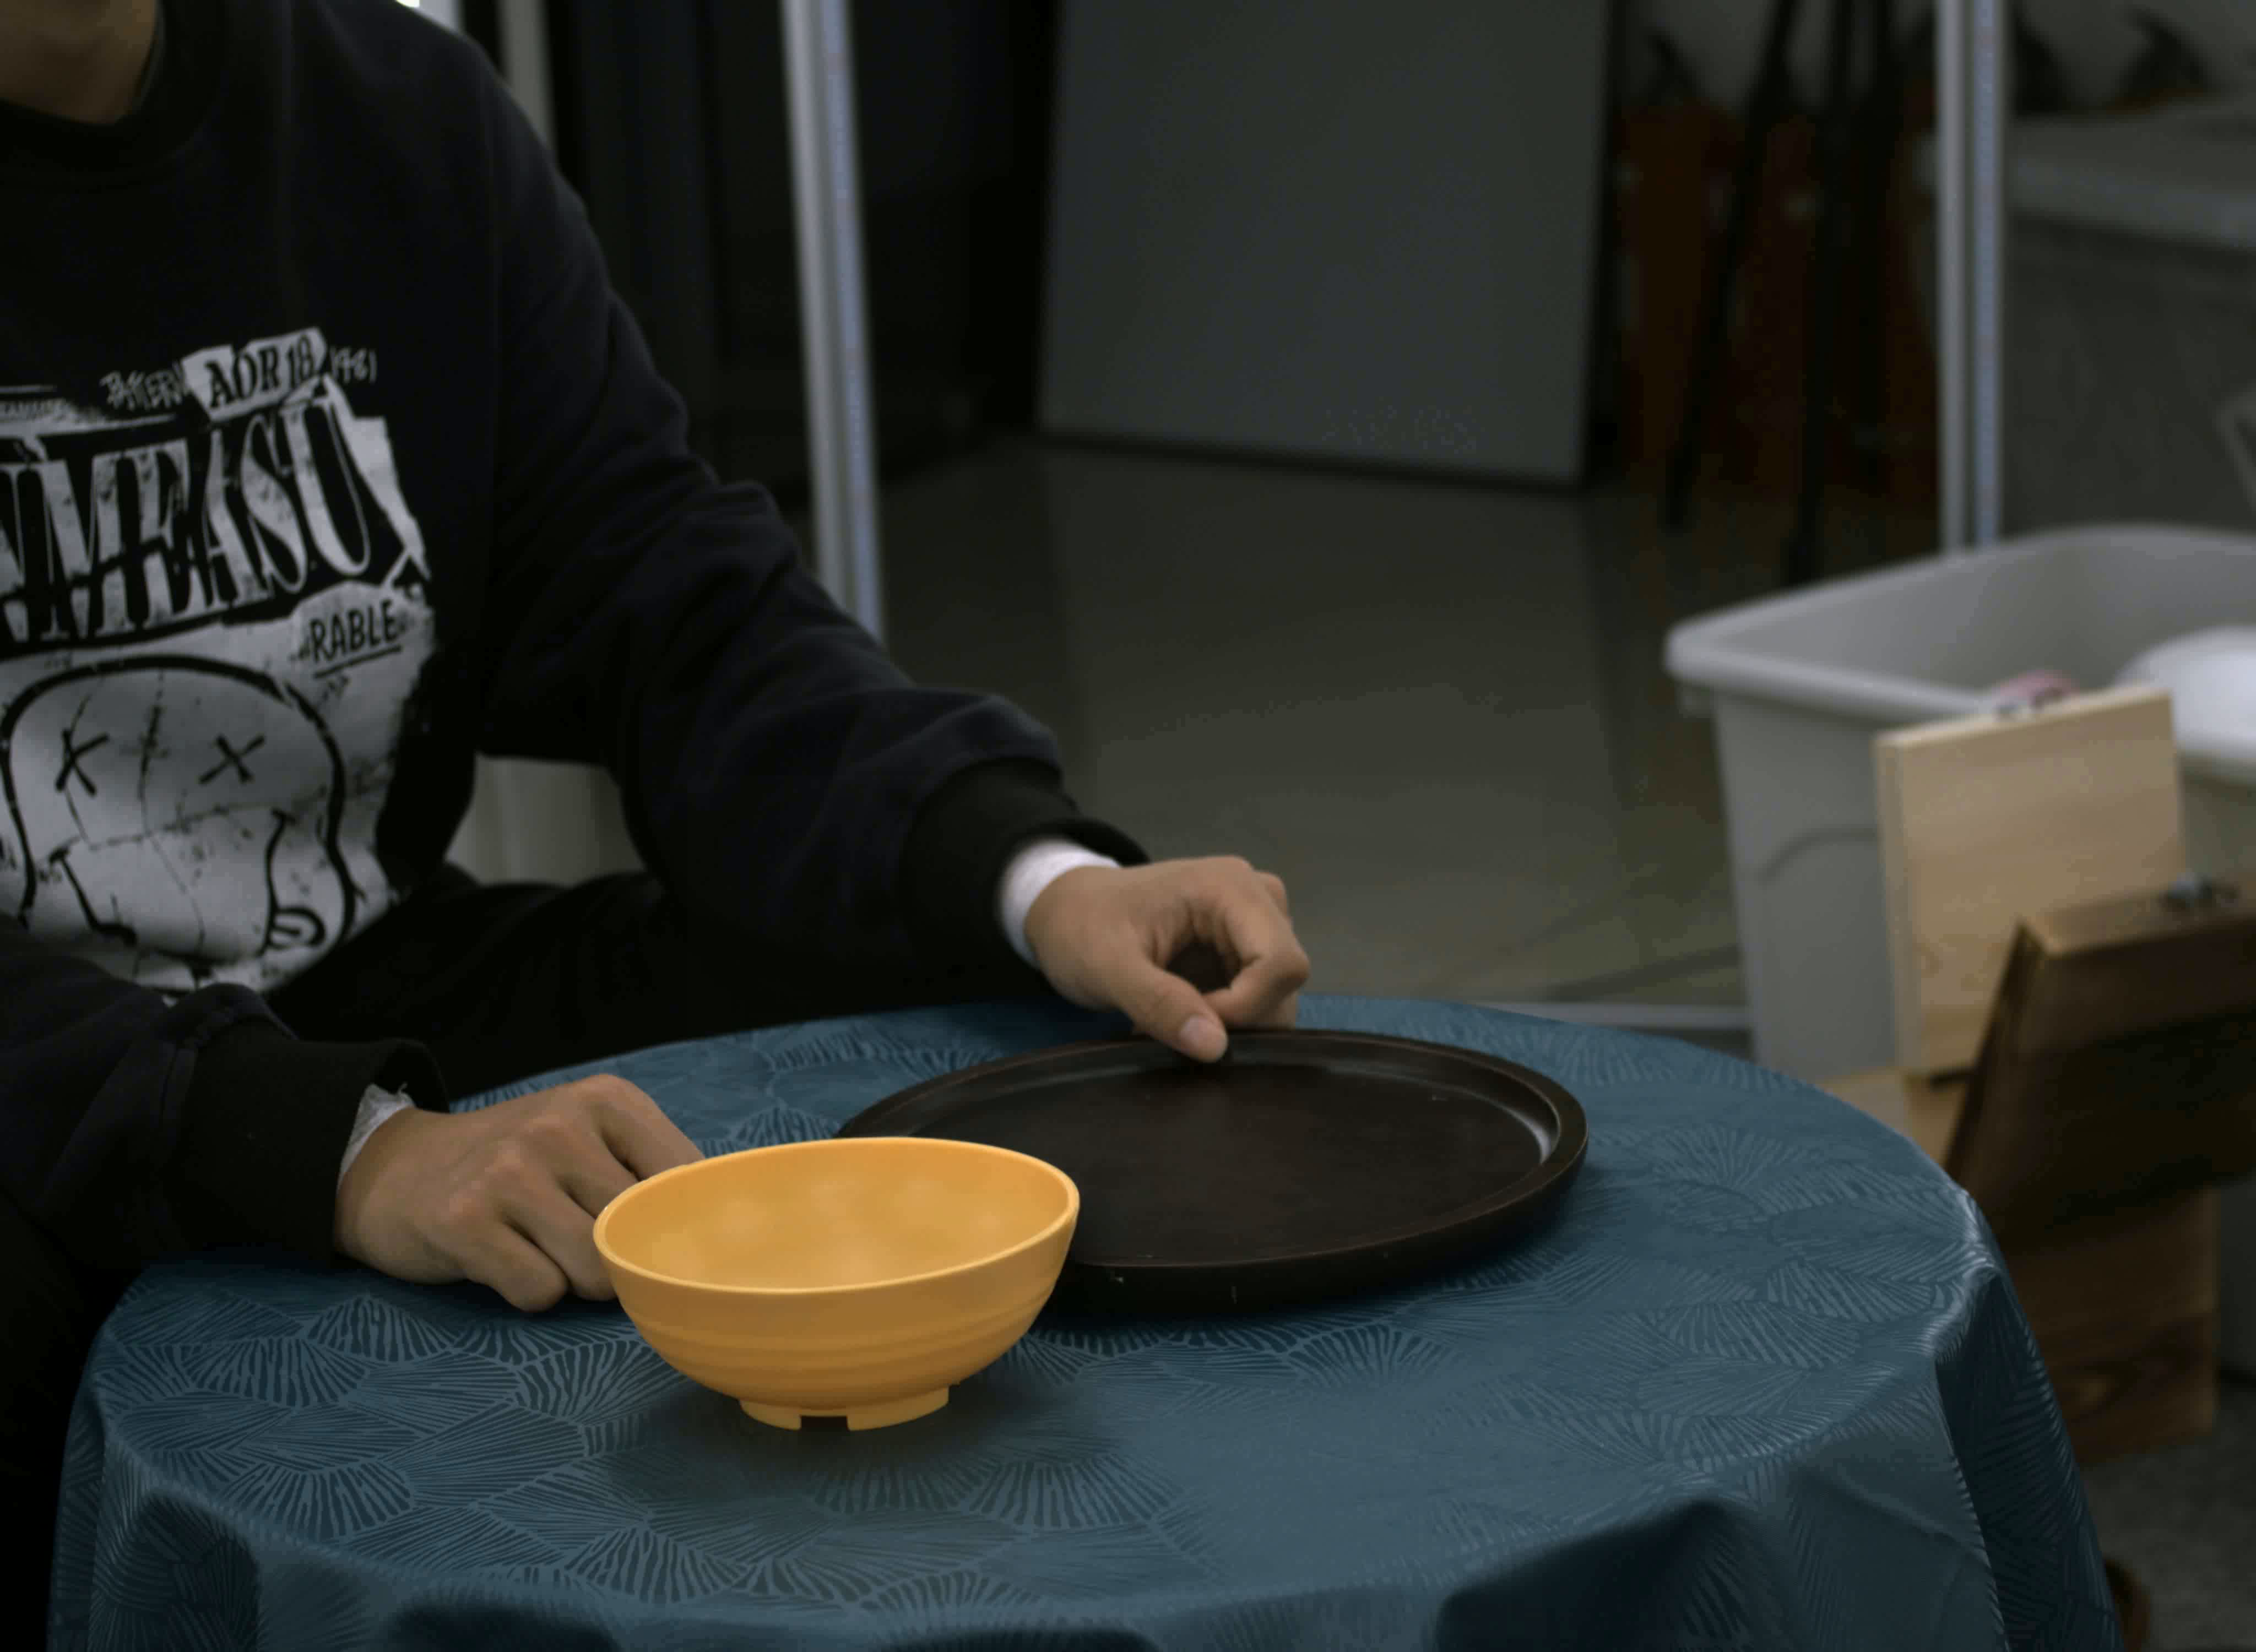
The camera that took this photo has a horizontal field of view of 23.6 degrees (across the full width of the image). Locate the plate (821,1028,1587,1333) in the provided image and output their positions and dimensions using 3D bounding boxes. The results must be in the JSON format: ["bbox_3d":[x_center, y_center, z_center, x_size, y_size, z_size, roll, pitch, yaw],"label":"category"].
[{"bbox_3d":[0.025,0.113,1.754,0.251,0.029,0.255,-6,15,1],"label":"plate"}]

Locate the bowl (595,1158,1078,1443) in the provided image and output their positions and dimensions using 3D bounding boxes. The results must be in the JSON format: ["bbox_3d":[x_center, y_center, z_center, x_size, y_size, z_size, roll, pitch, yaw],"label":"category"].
[{"bbox_3d":[-0.084,0.143,1.591,0.143,0.061,0.145,-4,11,0],"label":"bowl"}]
